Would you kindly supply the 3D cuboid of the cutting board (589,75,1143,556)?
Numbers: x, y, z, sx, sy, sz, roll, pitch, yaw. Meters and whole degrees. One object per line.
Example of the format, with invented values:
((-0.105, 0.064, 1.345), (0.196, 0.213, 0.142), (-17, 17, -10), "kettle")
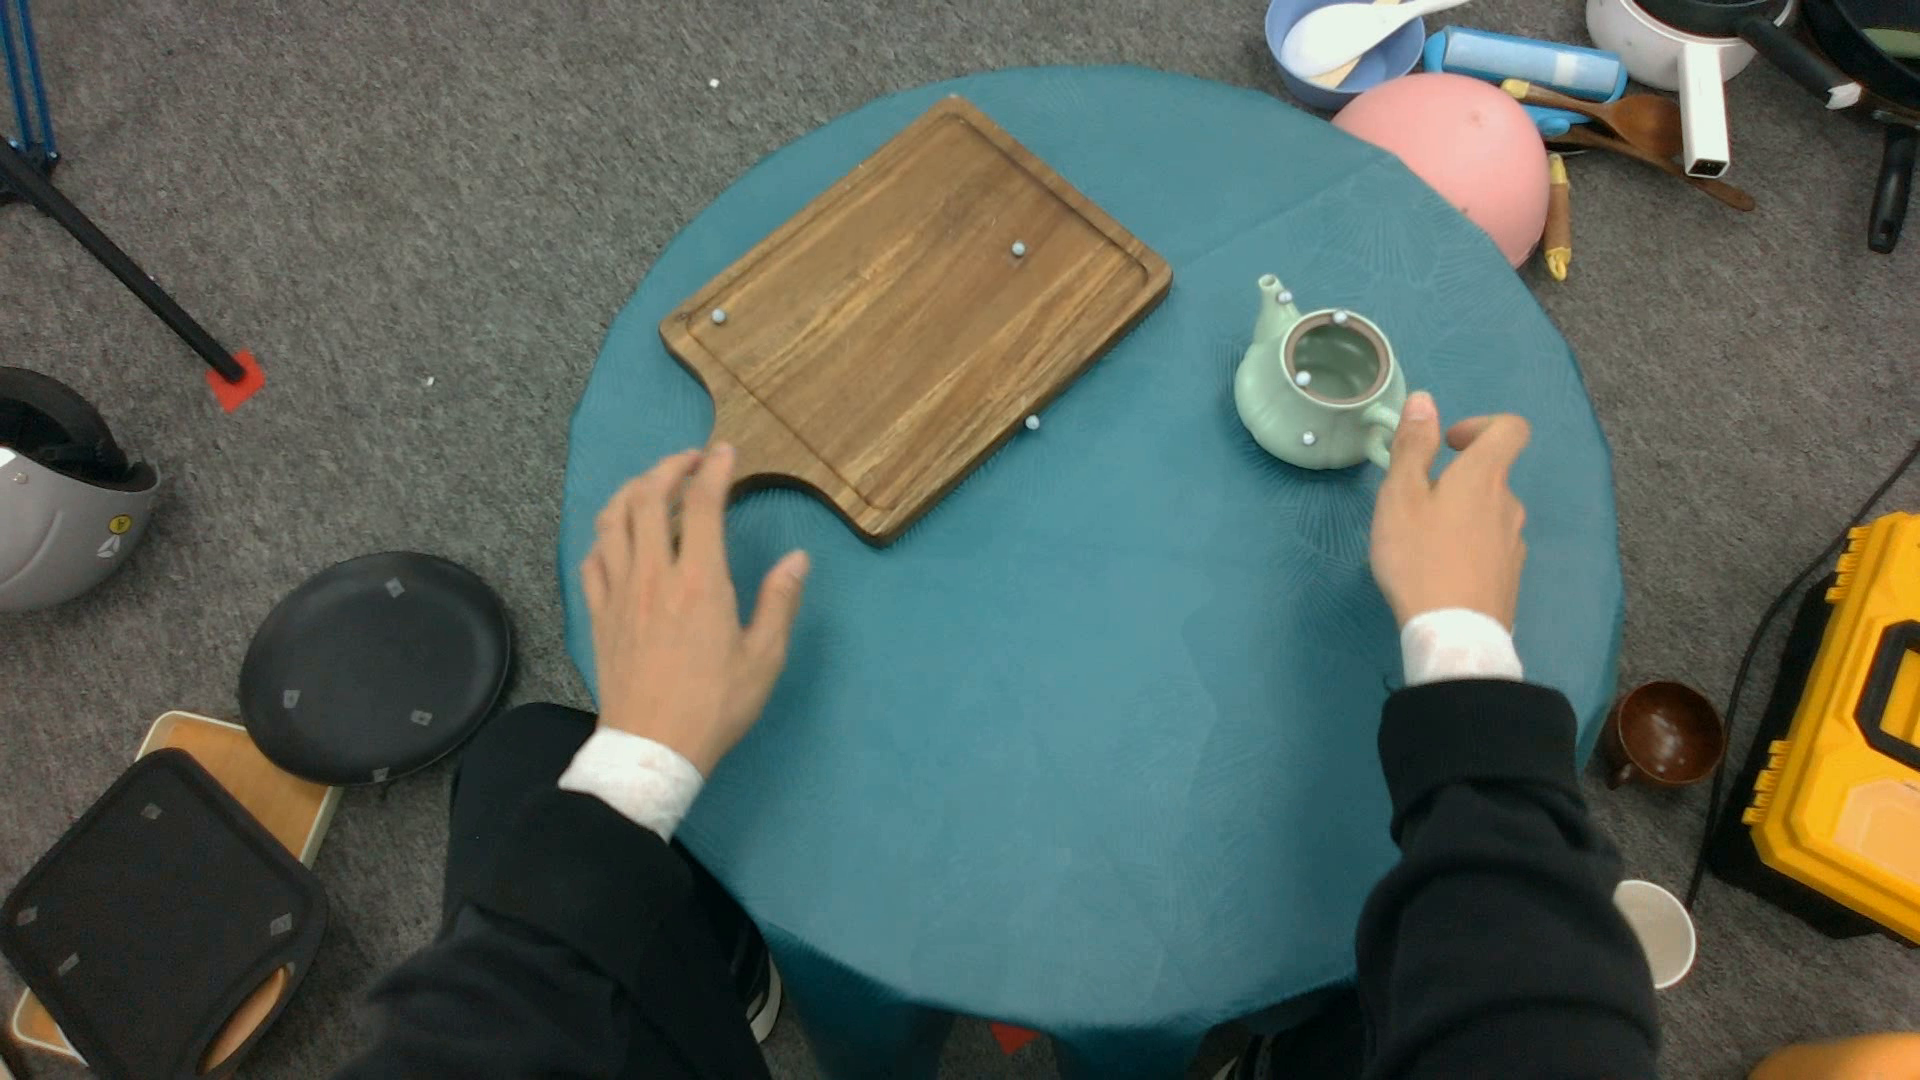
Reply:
((-0.077, -0.118, 0.805), (0.201, 0.023, 0.353), (41, 73, 15), "cutting board")

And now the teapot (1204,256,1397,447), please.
((0.192, -0.100, 0.780), (0.096, 0.061, 0.137), (-35, 72, -15), "teapot")
